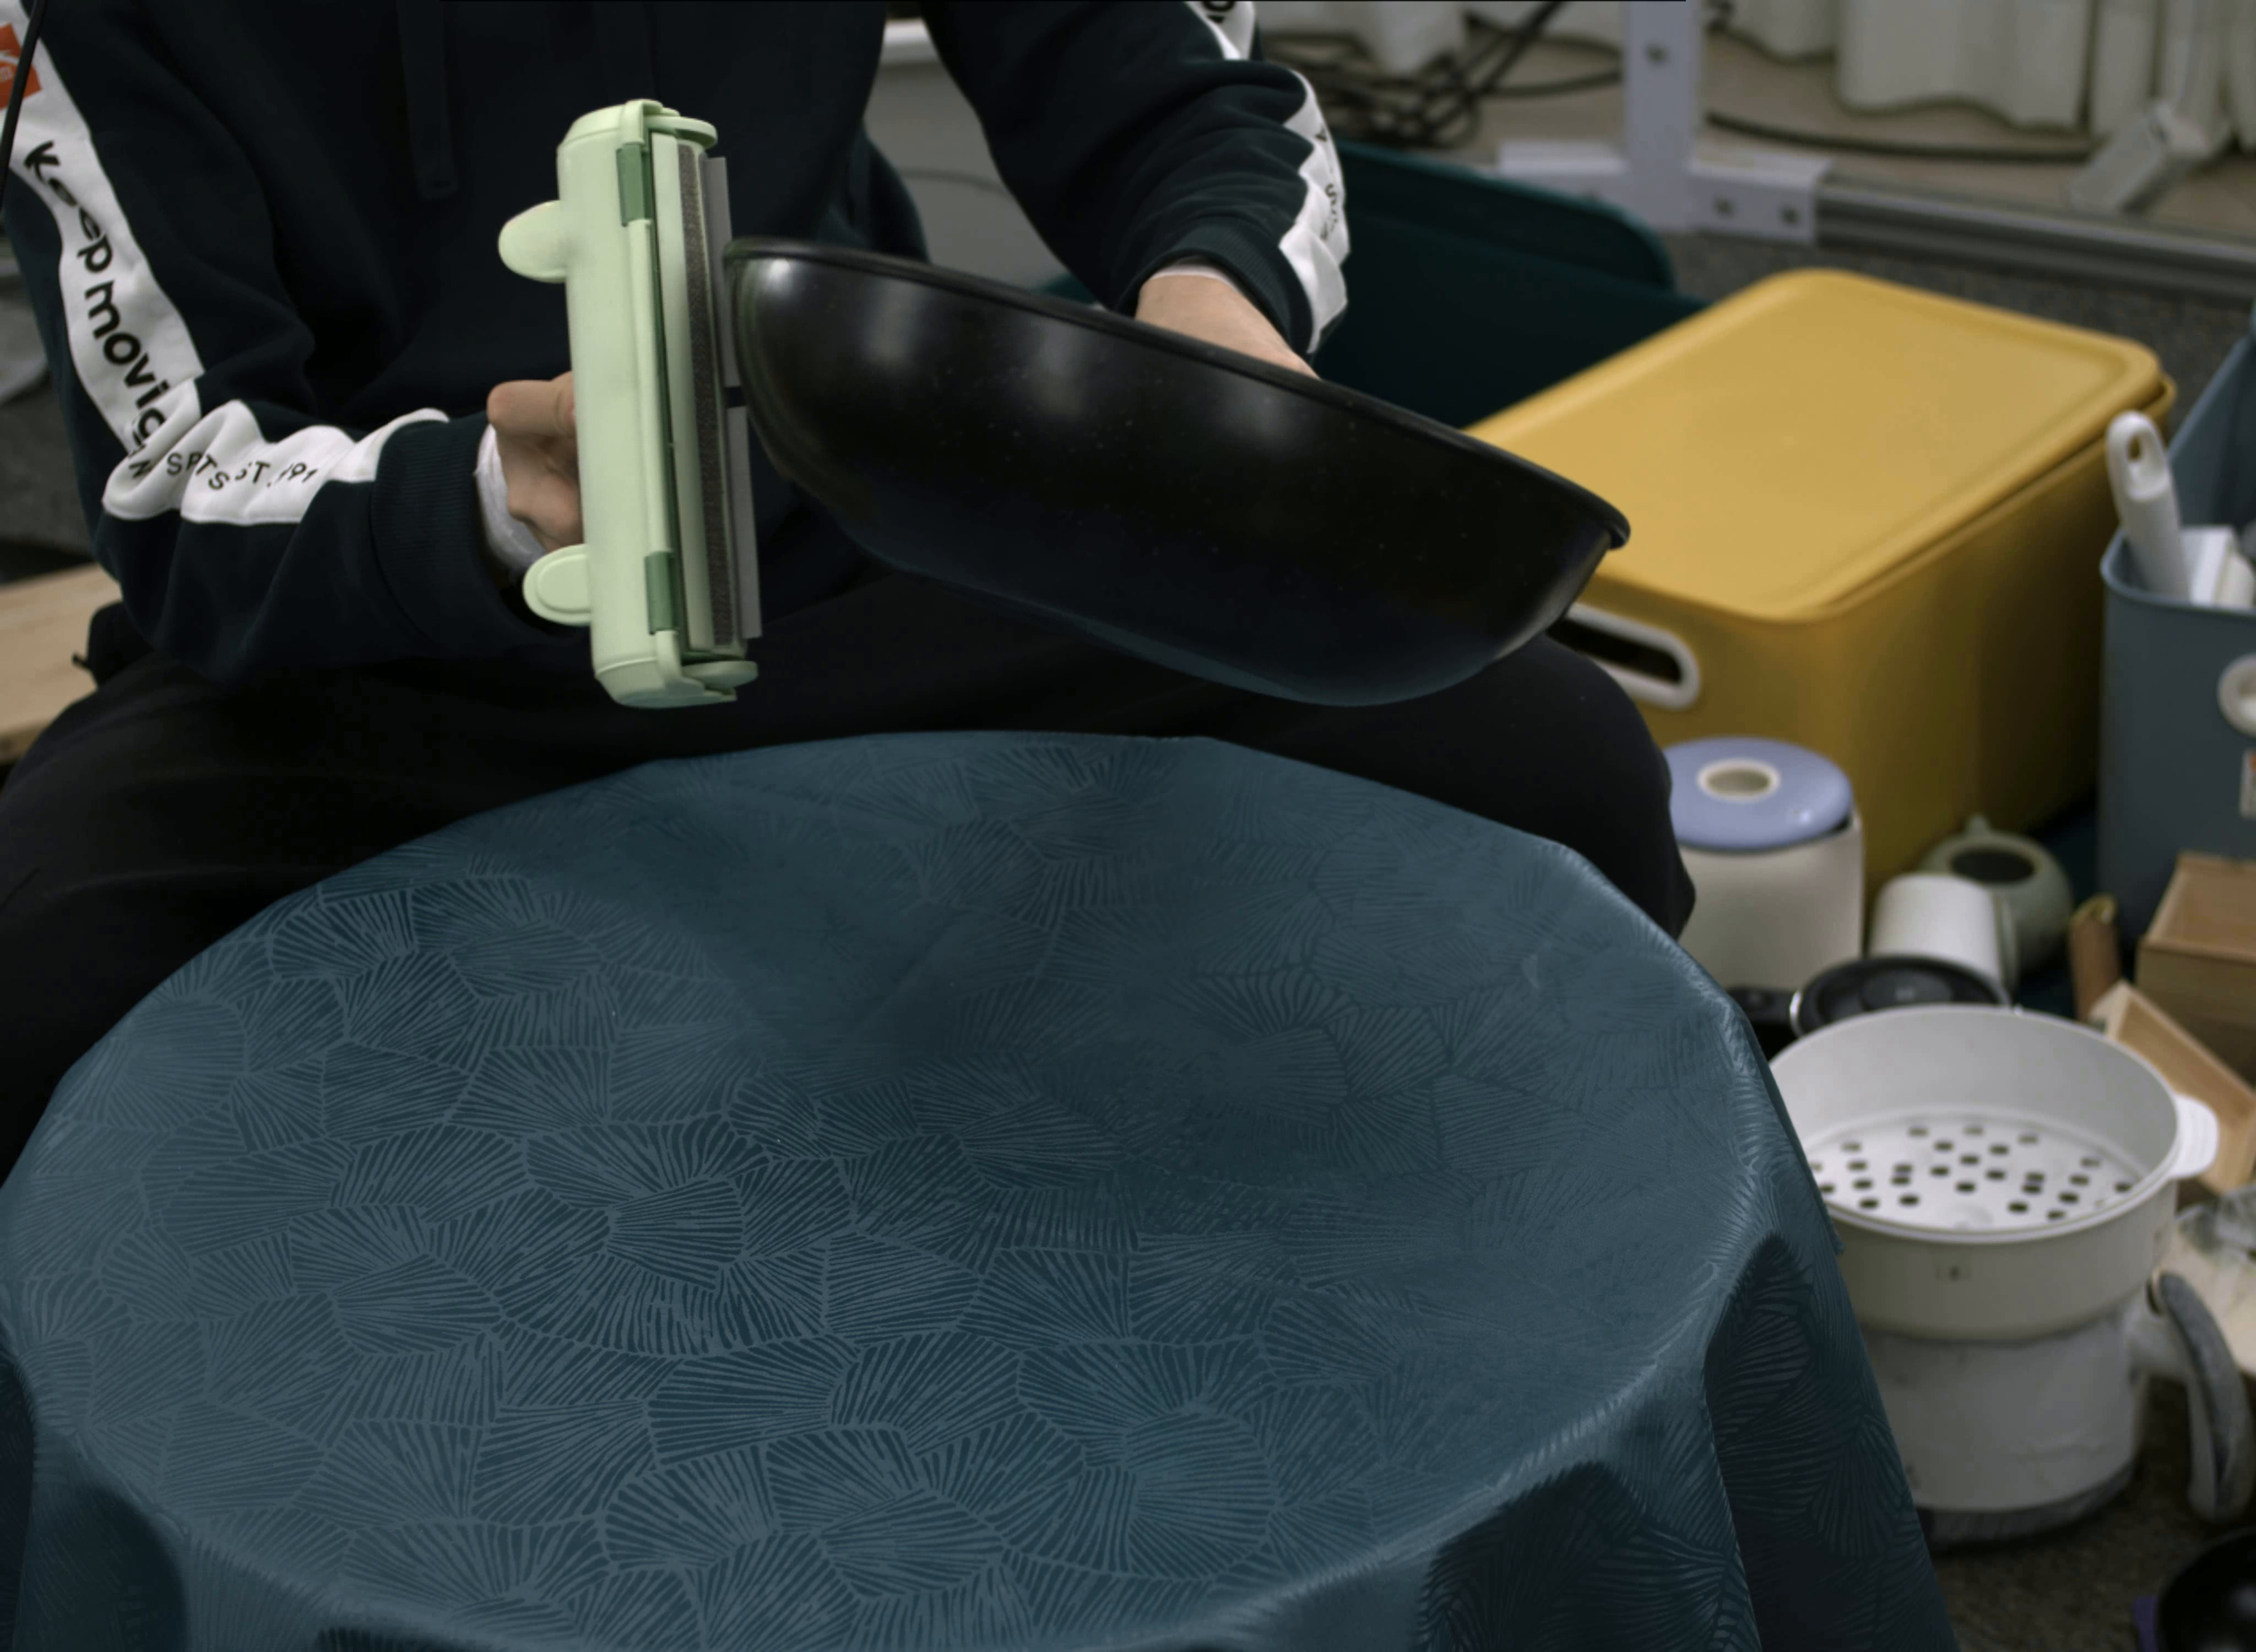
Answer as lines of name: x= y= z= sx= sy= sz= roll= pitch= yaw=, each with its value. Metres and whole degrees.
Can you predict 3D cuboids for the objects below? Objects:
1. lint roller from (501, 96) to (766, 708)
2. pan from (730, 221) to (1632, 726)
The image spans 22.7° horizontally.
lint roller: x=-0.176 y=-0.130 z=1.909 sx=0.082 sy=0.200 sz=0.181 roll=-3 pitch=-8 yaw=-18
pan: x=0.013 y=-0.108 z=1.905 sx=0.309 sy=0.112 sz=0.476 roll=20 pitch=-1 yaw=4
